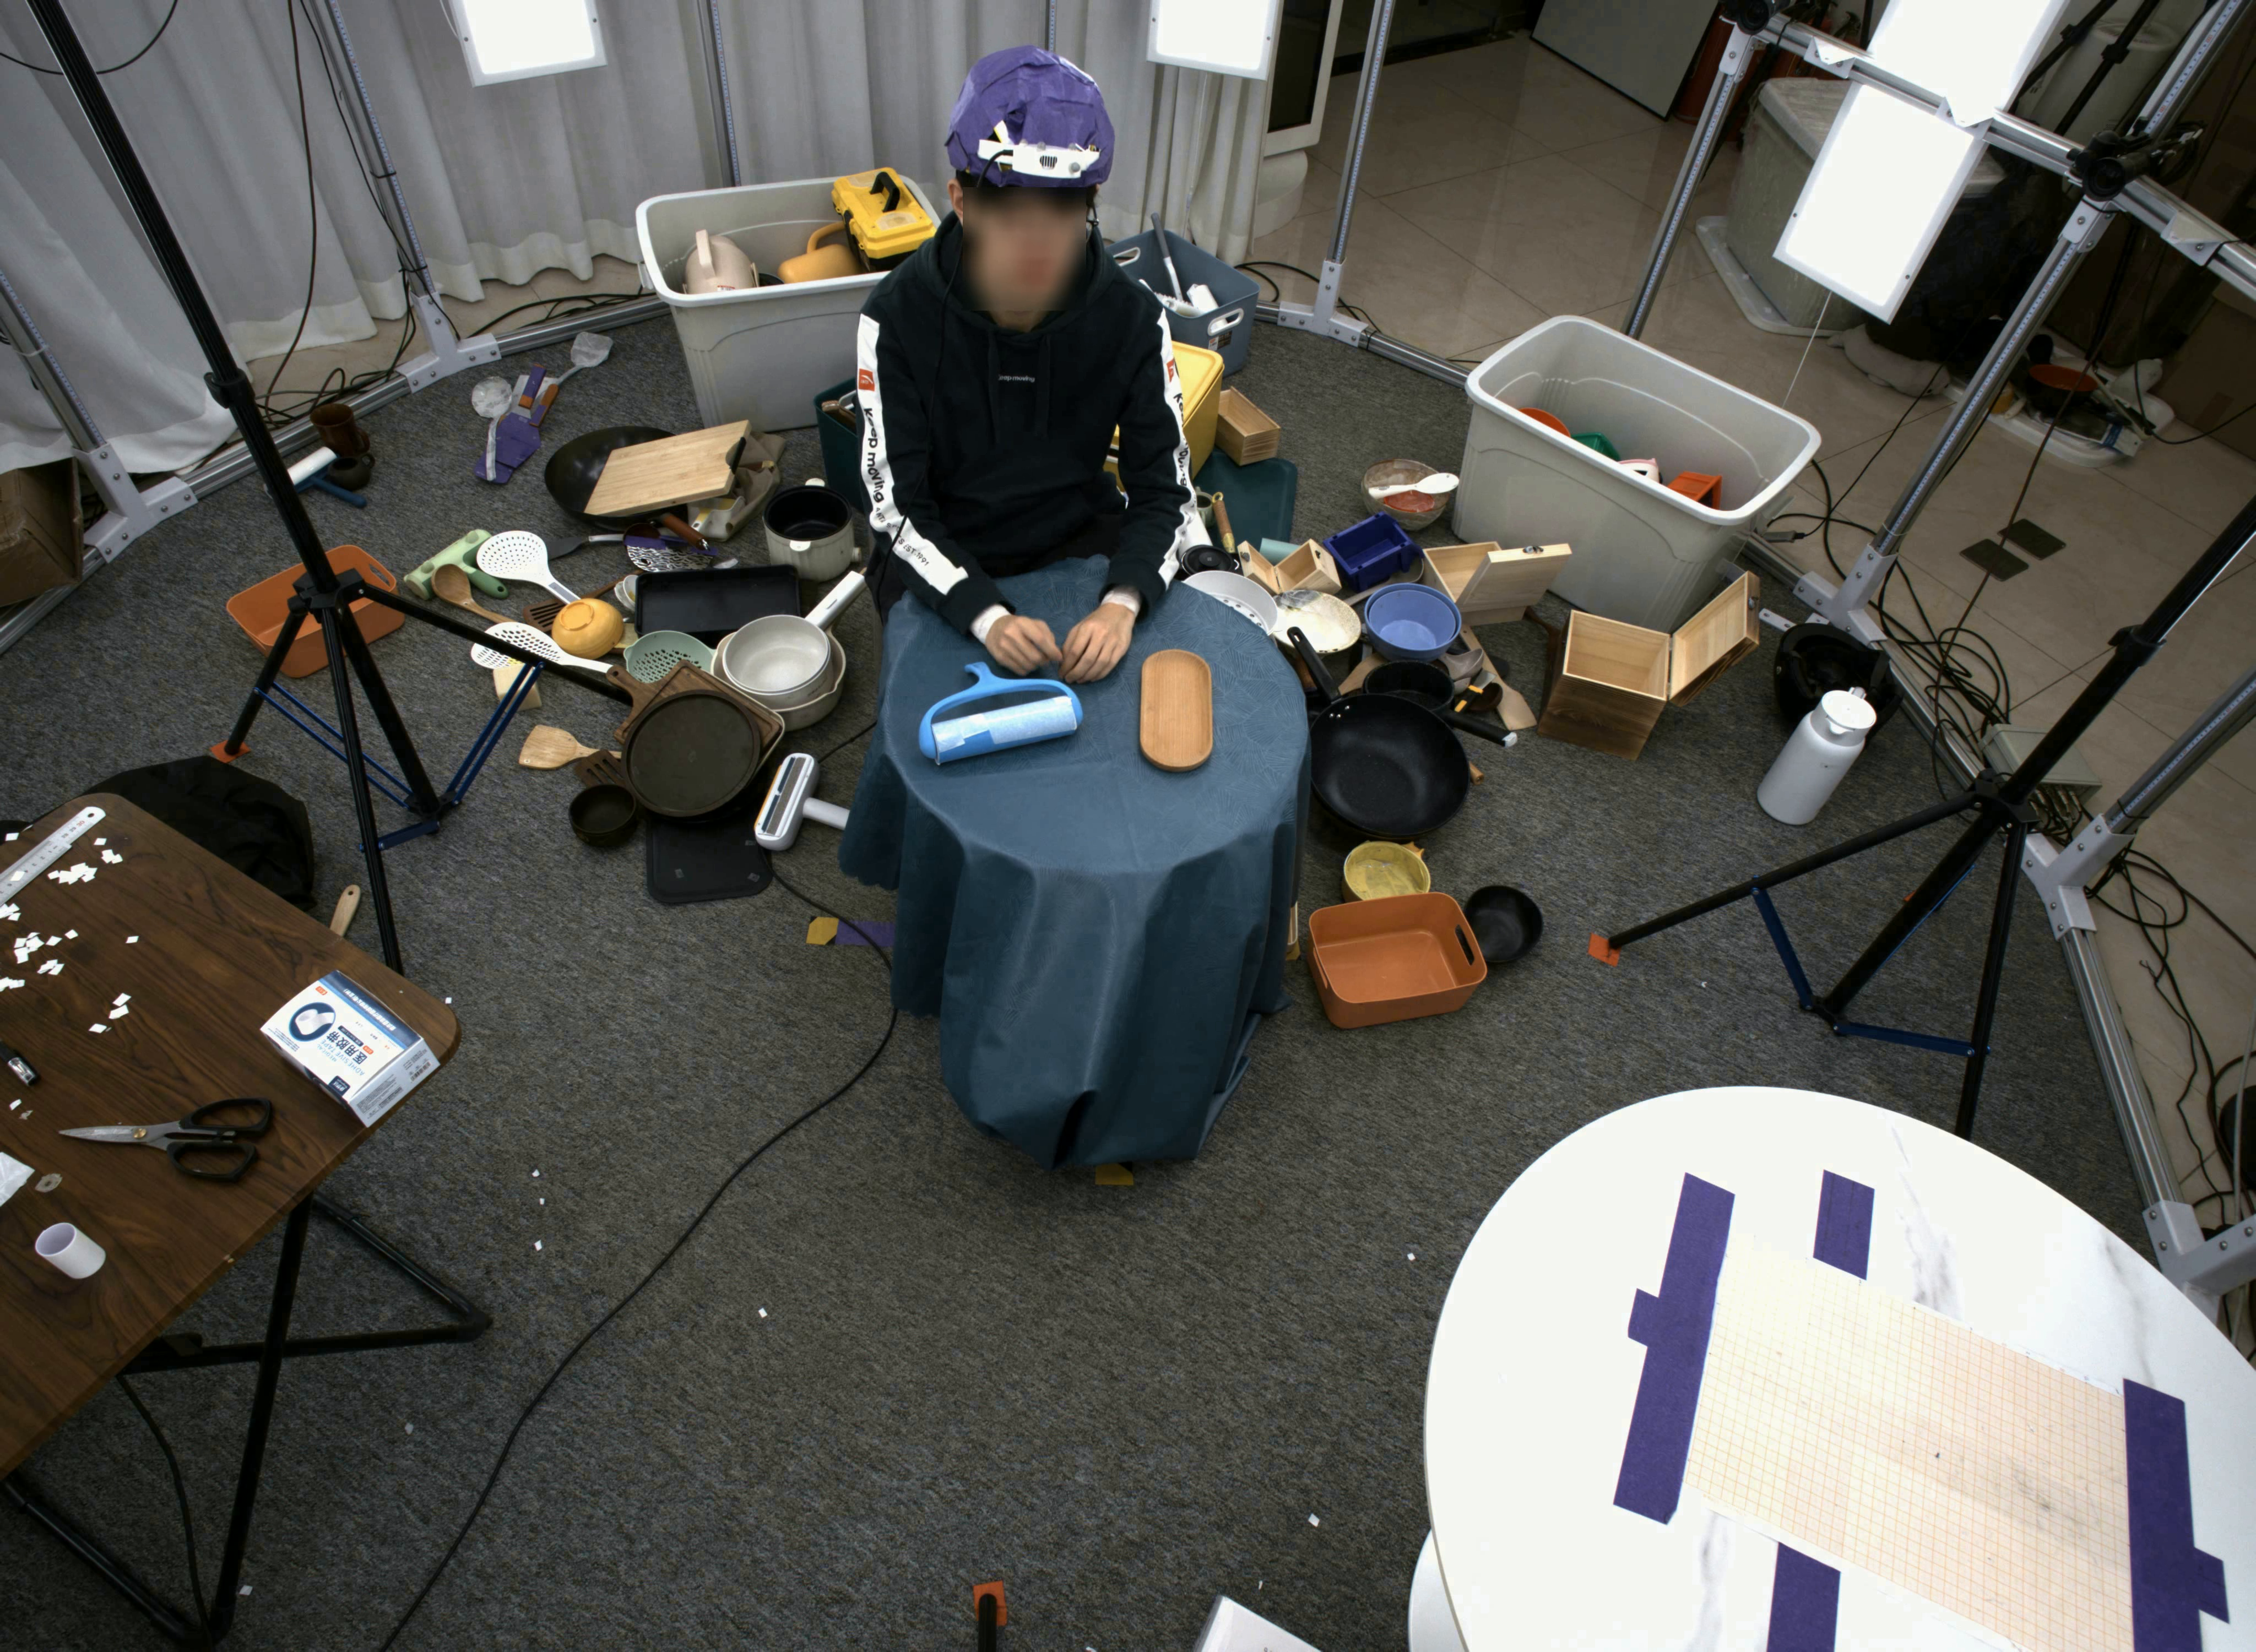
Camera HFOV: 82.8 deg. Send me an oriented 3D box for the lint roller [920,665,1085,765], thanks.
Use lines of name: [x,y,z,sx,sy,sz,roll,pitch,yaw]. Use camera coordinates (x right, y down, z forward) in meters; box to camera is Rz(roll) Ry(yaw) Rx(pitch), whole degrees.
lint roller: [-0.190,-0.175,1.770,0.229,0.066,0.184,-17,54,-15]

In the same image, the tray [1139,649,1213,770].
tray: [0.066,-0.167,1.807,0.101,0.020,0.237,3,47,-3]
